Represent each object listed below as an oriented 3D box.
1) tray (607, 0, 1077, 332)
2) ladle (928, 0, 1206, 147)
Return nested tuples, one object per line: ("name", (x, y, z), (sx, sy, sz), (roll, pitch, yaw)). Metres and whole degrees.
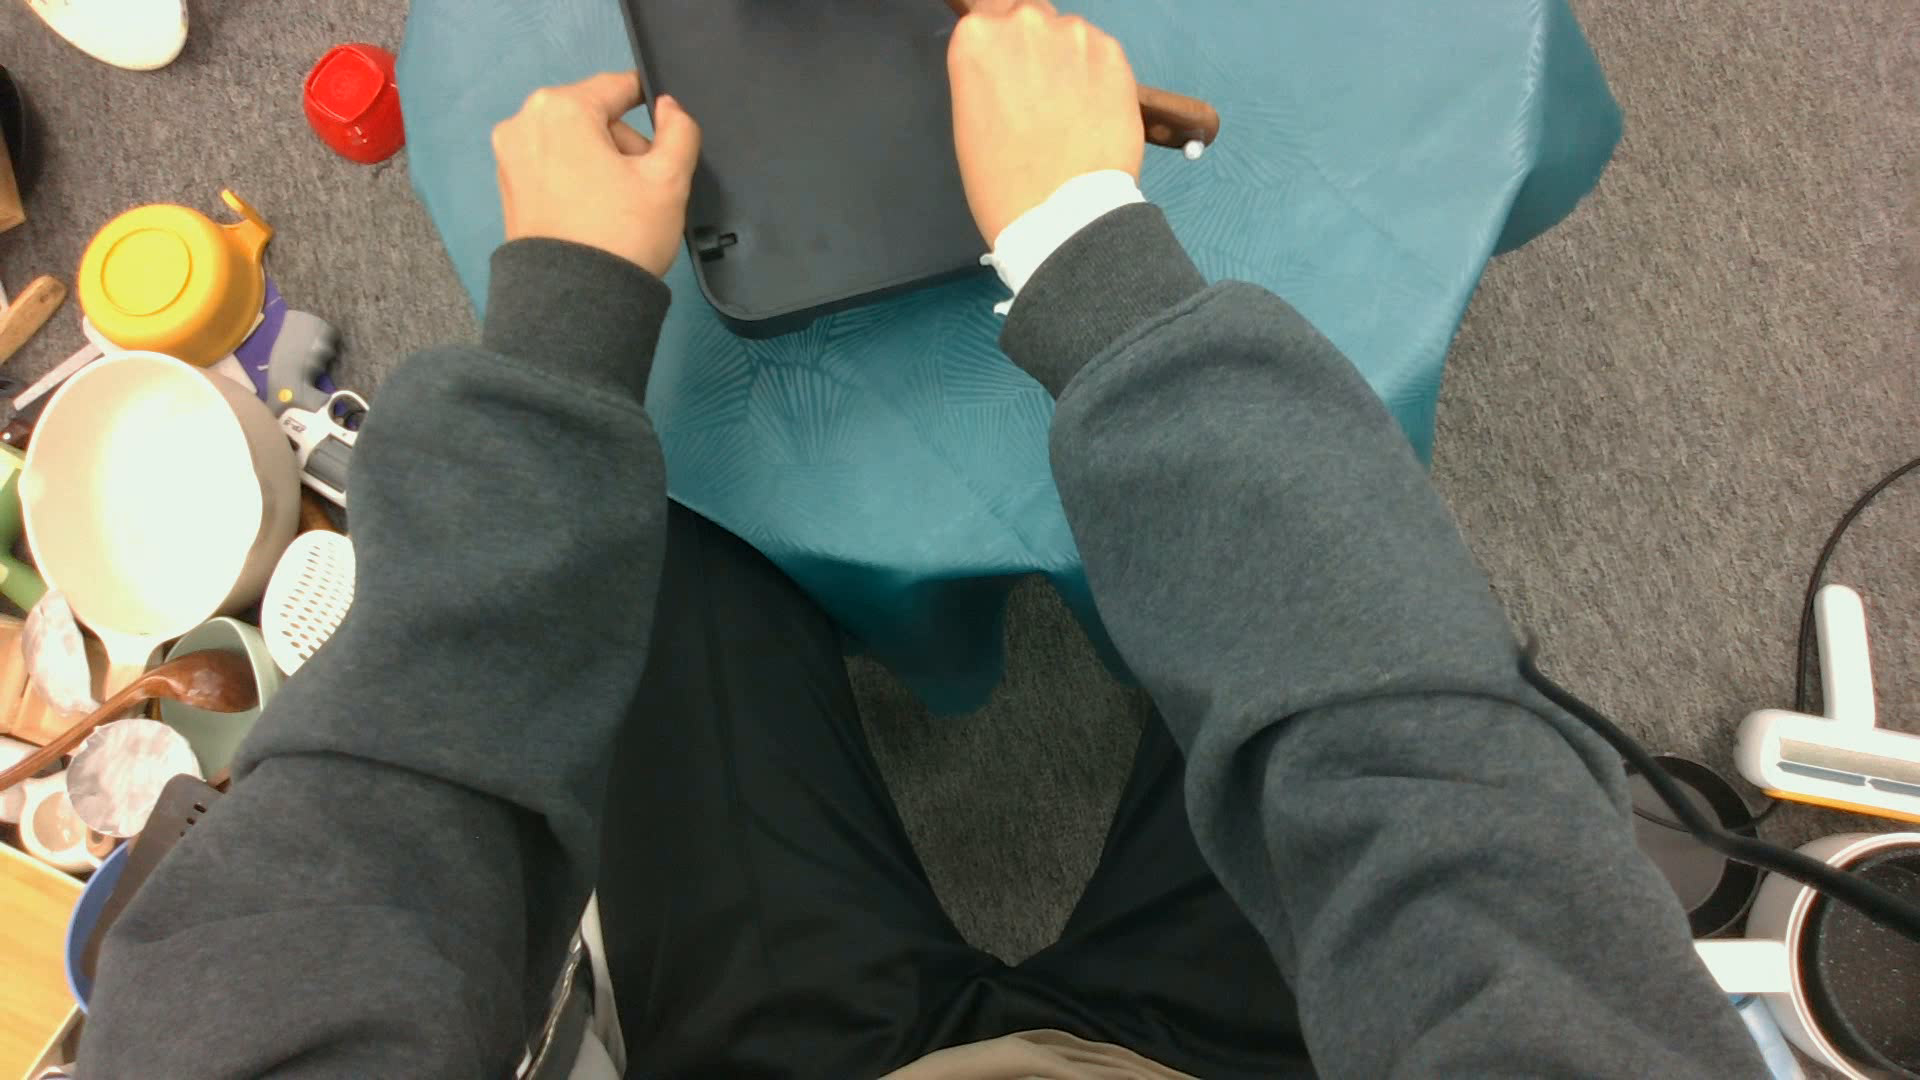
("tray", (-0.076, -0.265, 0.659), (0.184, 0.037, 0.318), (-17, 79, -7))
("ladle", (-0.012, -0.232, 0.619), (0.260, 0.076, 0.065), (37, 78, 13))
